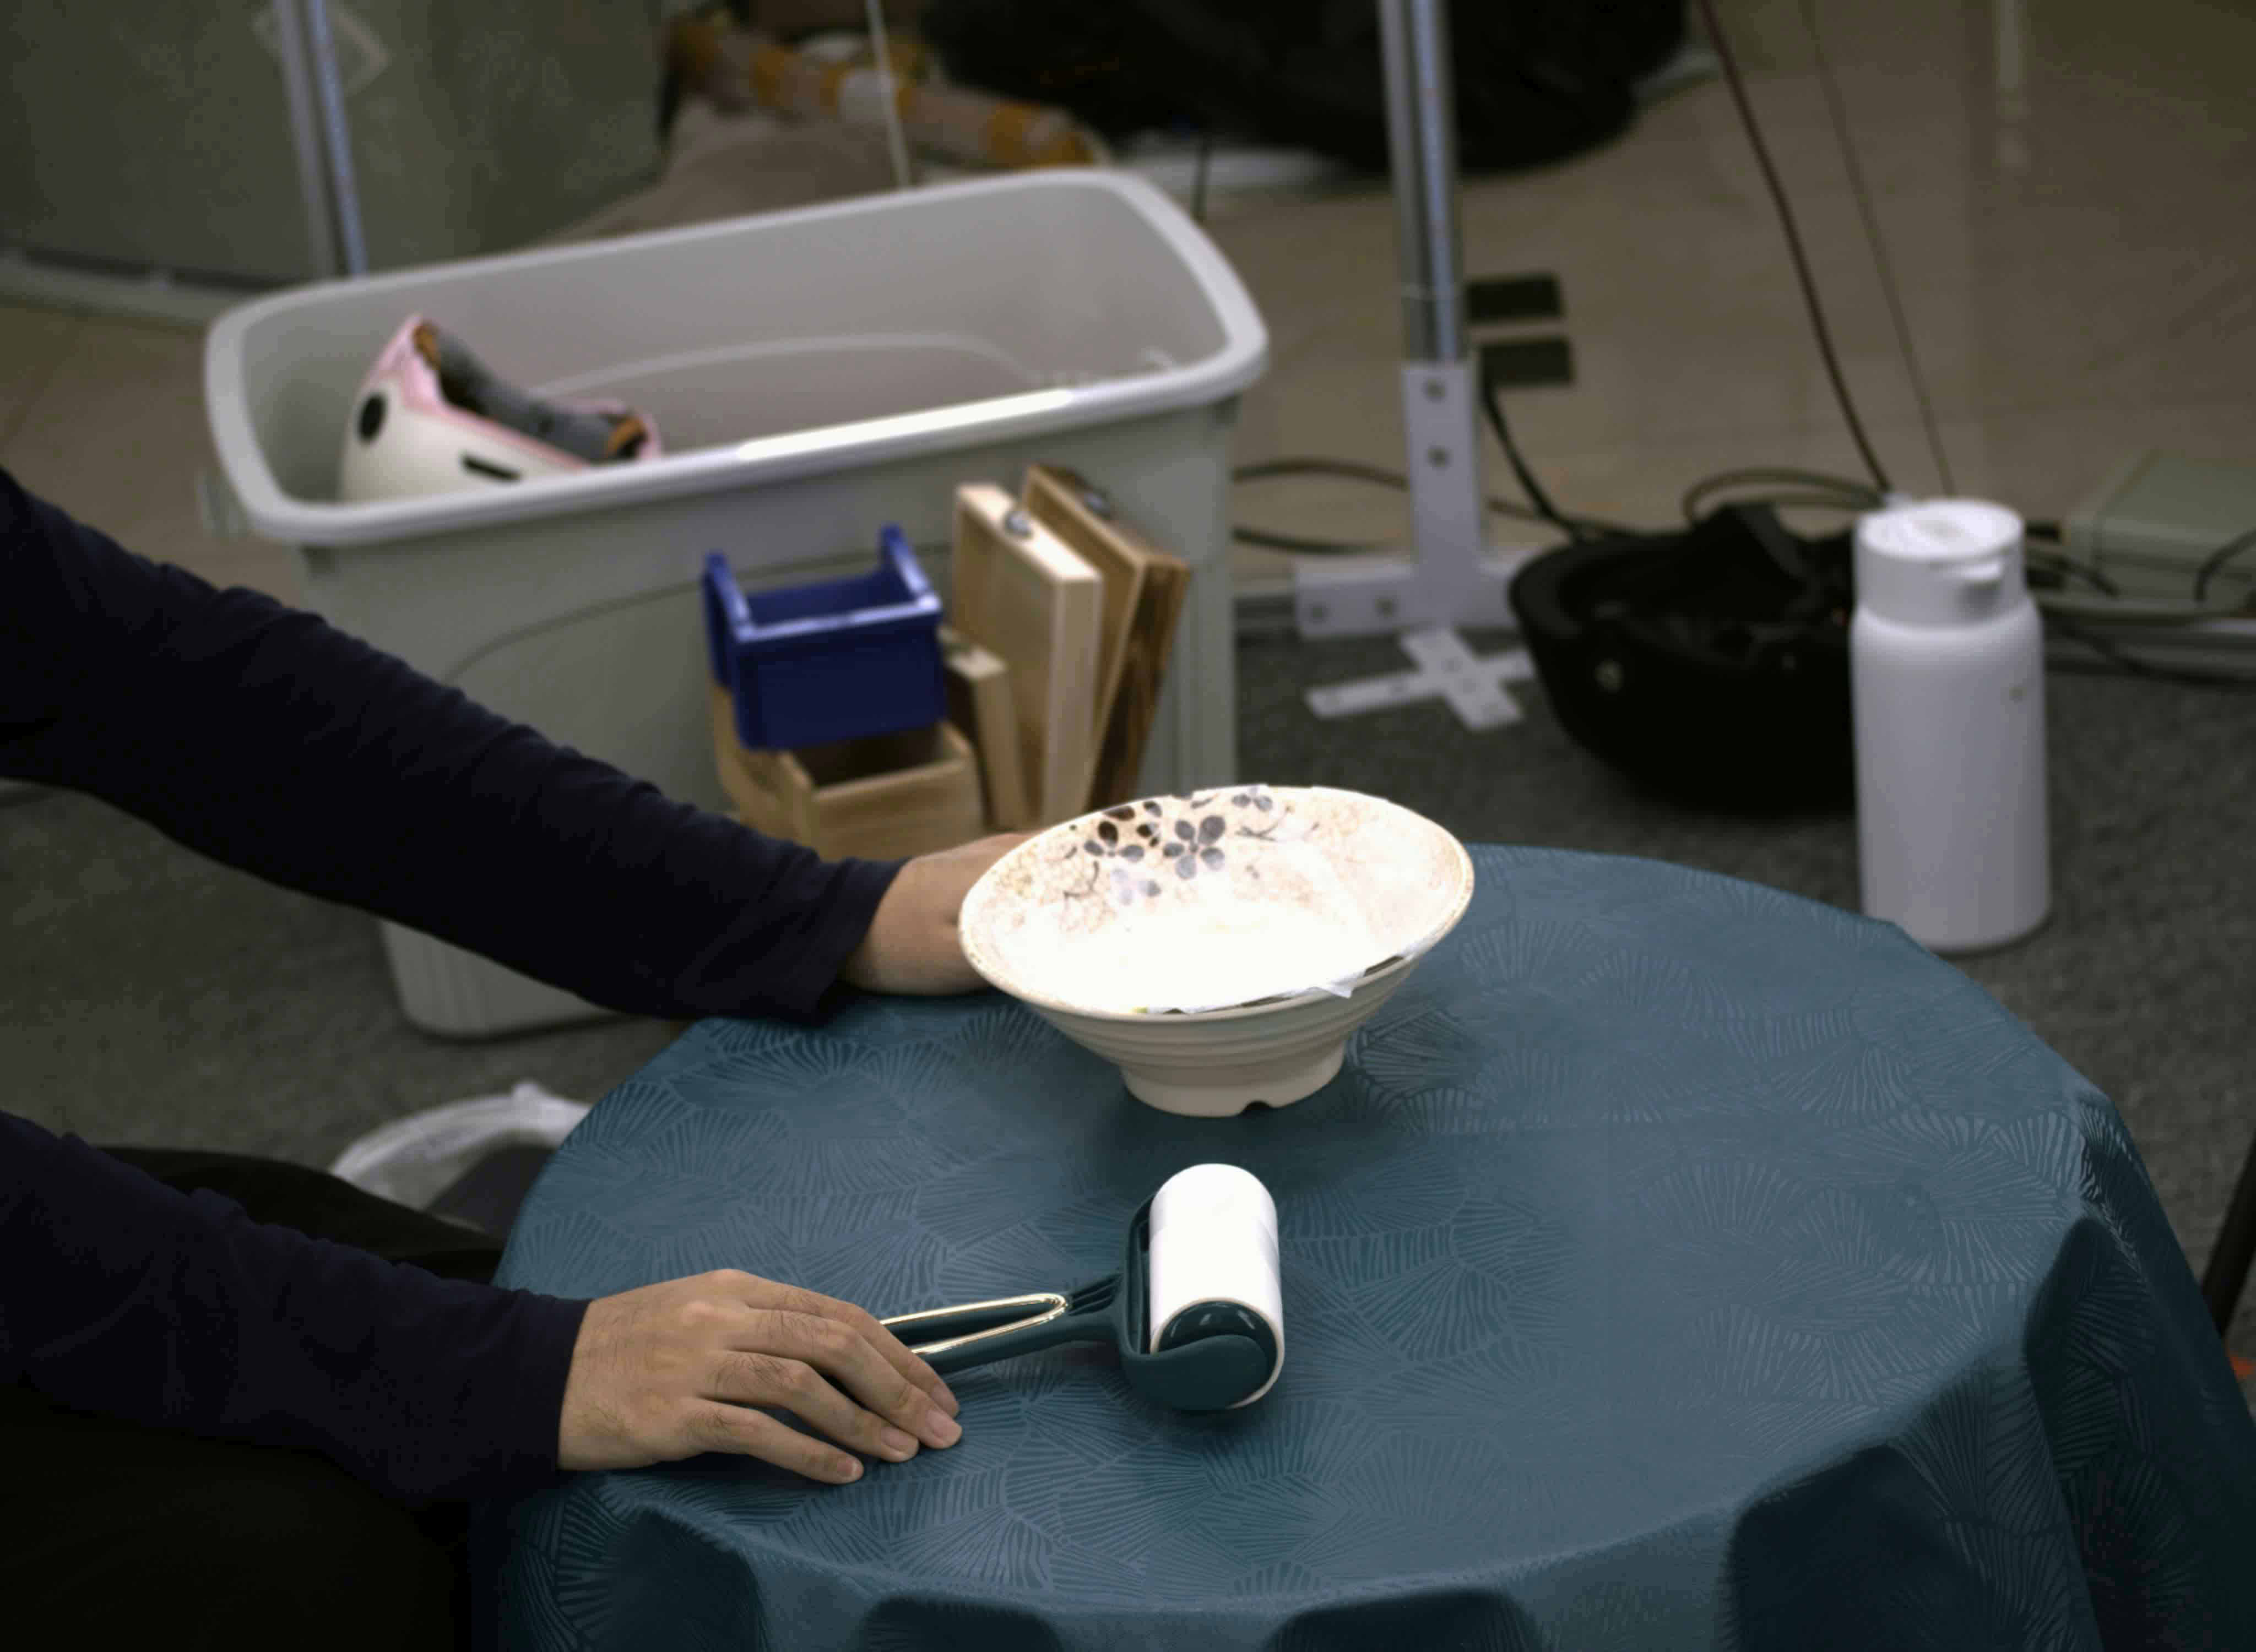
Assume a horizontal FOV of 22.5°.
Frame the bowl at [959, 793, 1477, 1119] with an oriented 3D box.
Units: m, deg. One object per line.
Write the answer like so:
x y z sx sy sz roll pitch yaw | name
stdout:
0.039 0.061 2.218 0.204 0.079 0.201 -7 23 3 | bowl

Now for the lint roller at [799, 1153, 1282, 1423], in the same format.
-0.035 0.176 2.037 0.180 0.049 0.132 -10 25 5 | lint roller
